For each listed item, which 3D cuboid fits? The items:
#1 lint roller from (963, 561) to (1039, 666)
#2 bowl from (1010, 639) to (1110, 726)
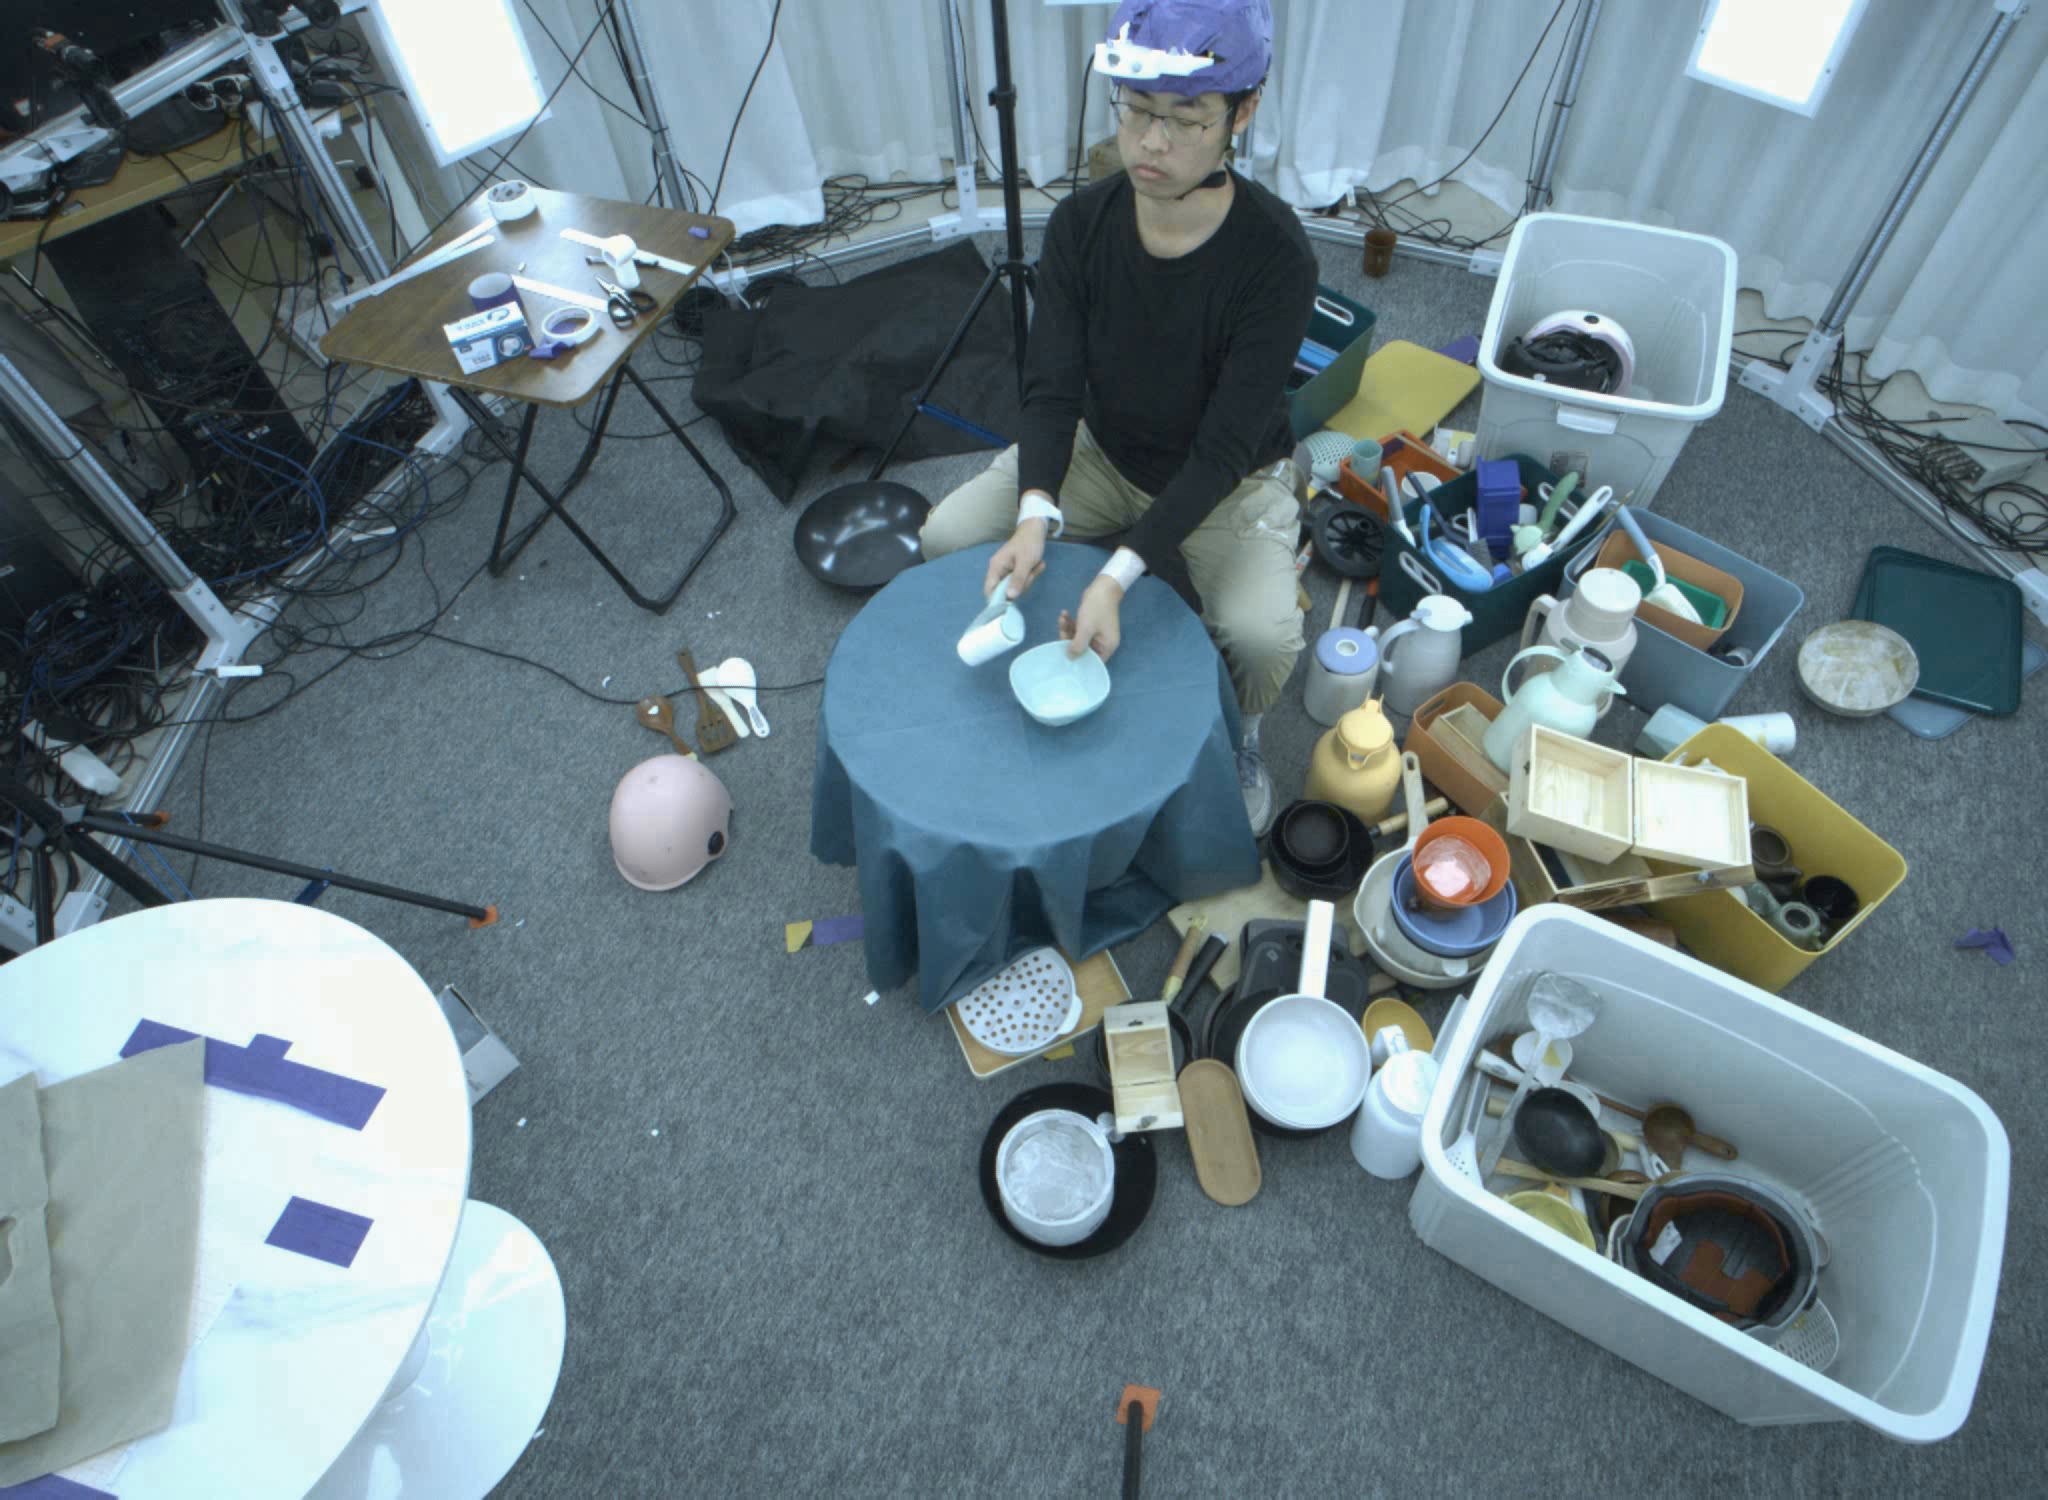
[{"bbox_3d":[-0.022,-0.219,1.830,0.049,0.115,0.197,36,54,-25],"label":"lint roller"},{"bbox_3d":[0.053,-0.089,1.813,0.151,0.059,0.150,0,56,1],"label":"bowl"}]
